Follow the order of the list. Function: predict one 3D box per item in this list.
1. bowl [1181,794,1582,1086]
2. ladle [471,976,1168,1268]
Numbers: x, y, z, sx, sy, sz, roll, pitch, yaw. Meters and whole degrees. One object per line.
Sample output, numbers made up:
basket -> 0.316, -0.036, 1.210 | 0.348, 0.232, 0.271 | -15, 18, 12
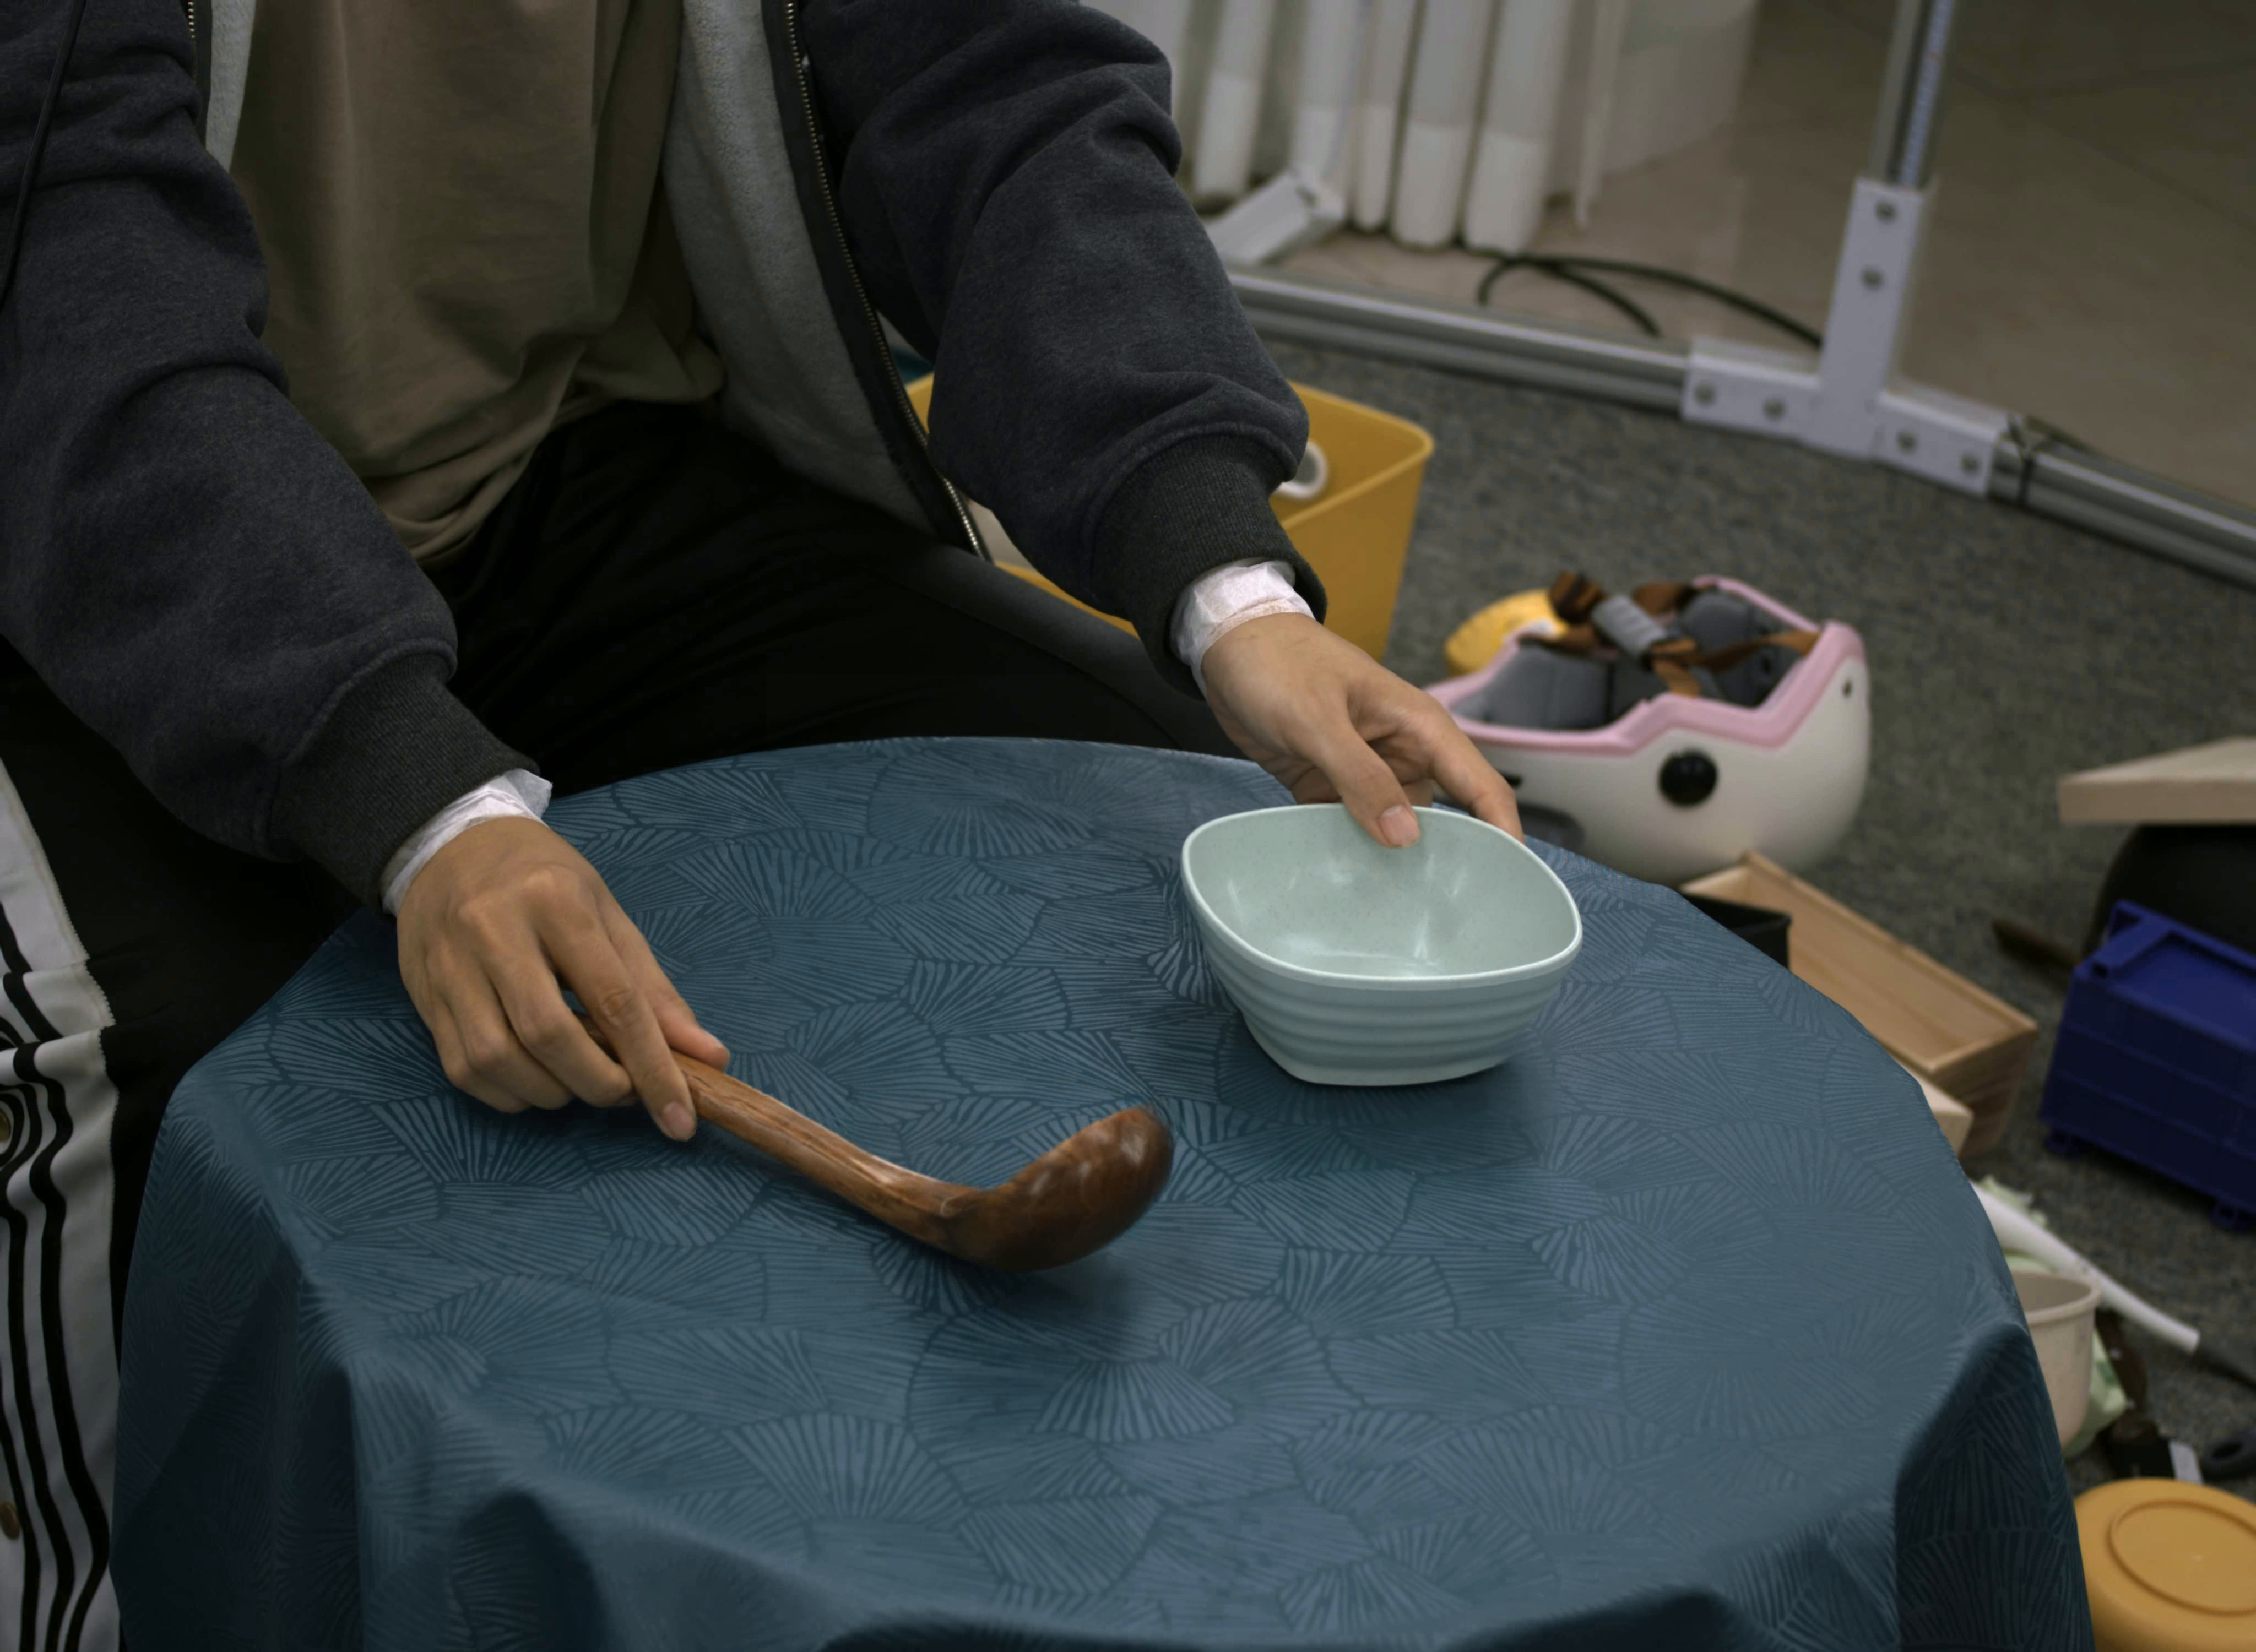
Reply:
bowl -> 0.087, 0.046, 1.905 | 0.151, 0.058, 0.152 | 5, 28, -3
ladle -> -0.109, 0.077, 1.775 | 0.276, 0.076, 0.081 | 25, 17, 29
